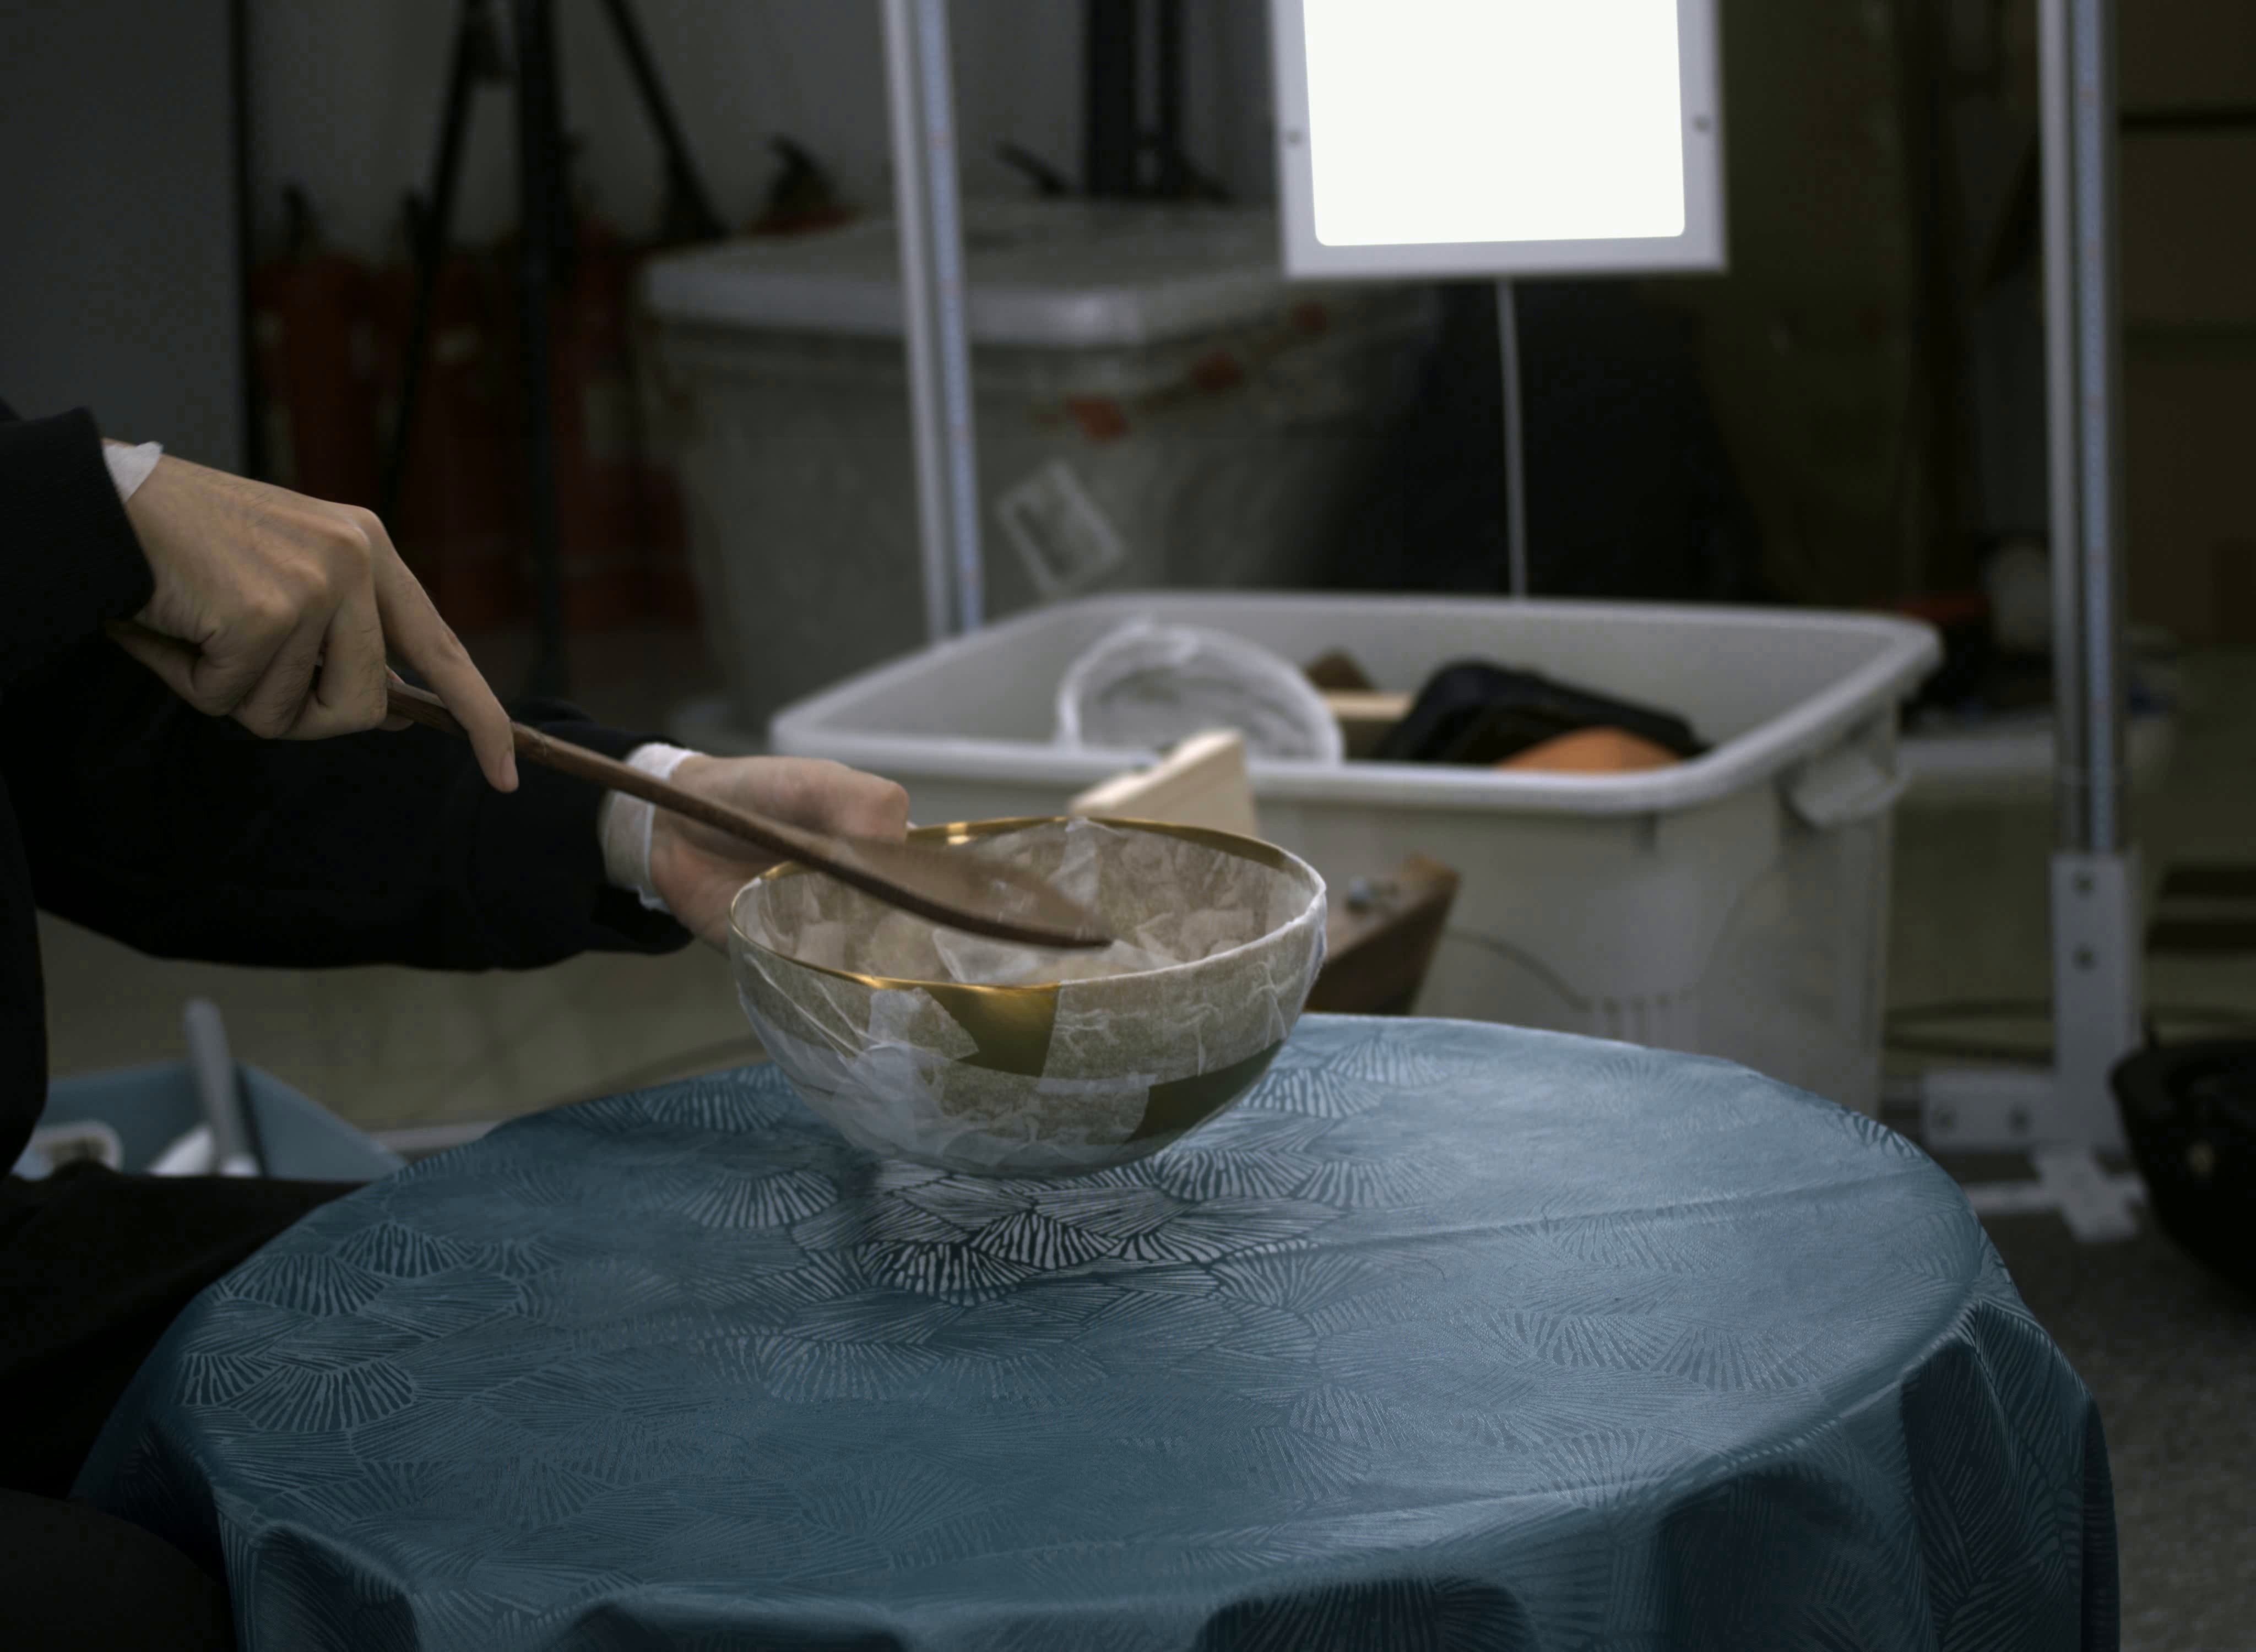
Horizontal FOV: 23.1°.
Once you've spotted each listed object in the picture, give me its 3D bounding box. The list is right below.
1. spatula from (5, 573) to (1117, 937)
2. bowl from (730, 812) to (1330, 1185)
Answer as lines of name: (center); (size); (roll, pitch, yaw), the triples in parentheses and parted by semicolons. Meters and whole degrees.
spatula: (-0.178, -0.023, 1.781); (0.379, 0.016, 0.097); (18, 10, -23)
bowl: (-0.032, 0.065, 1.858); (0.214, 0.095, 0.214); (-5, 16, 0)
